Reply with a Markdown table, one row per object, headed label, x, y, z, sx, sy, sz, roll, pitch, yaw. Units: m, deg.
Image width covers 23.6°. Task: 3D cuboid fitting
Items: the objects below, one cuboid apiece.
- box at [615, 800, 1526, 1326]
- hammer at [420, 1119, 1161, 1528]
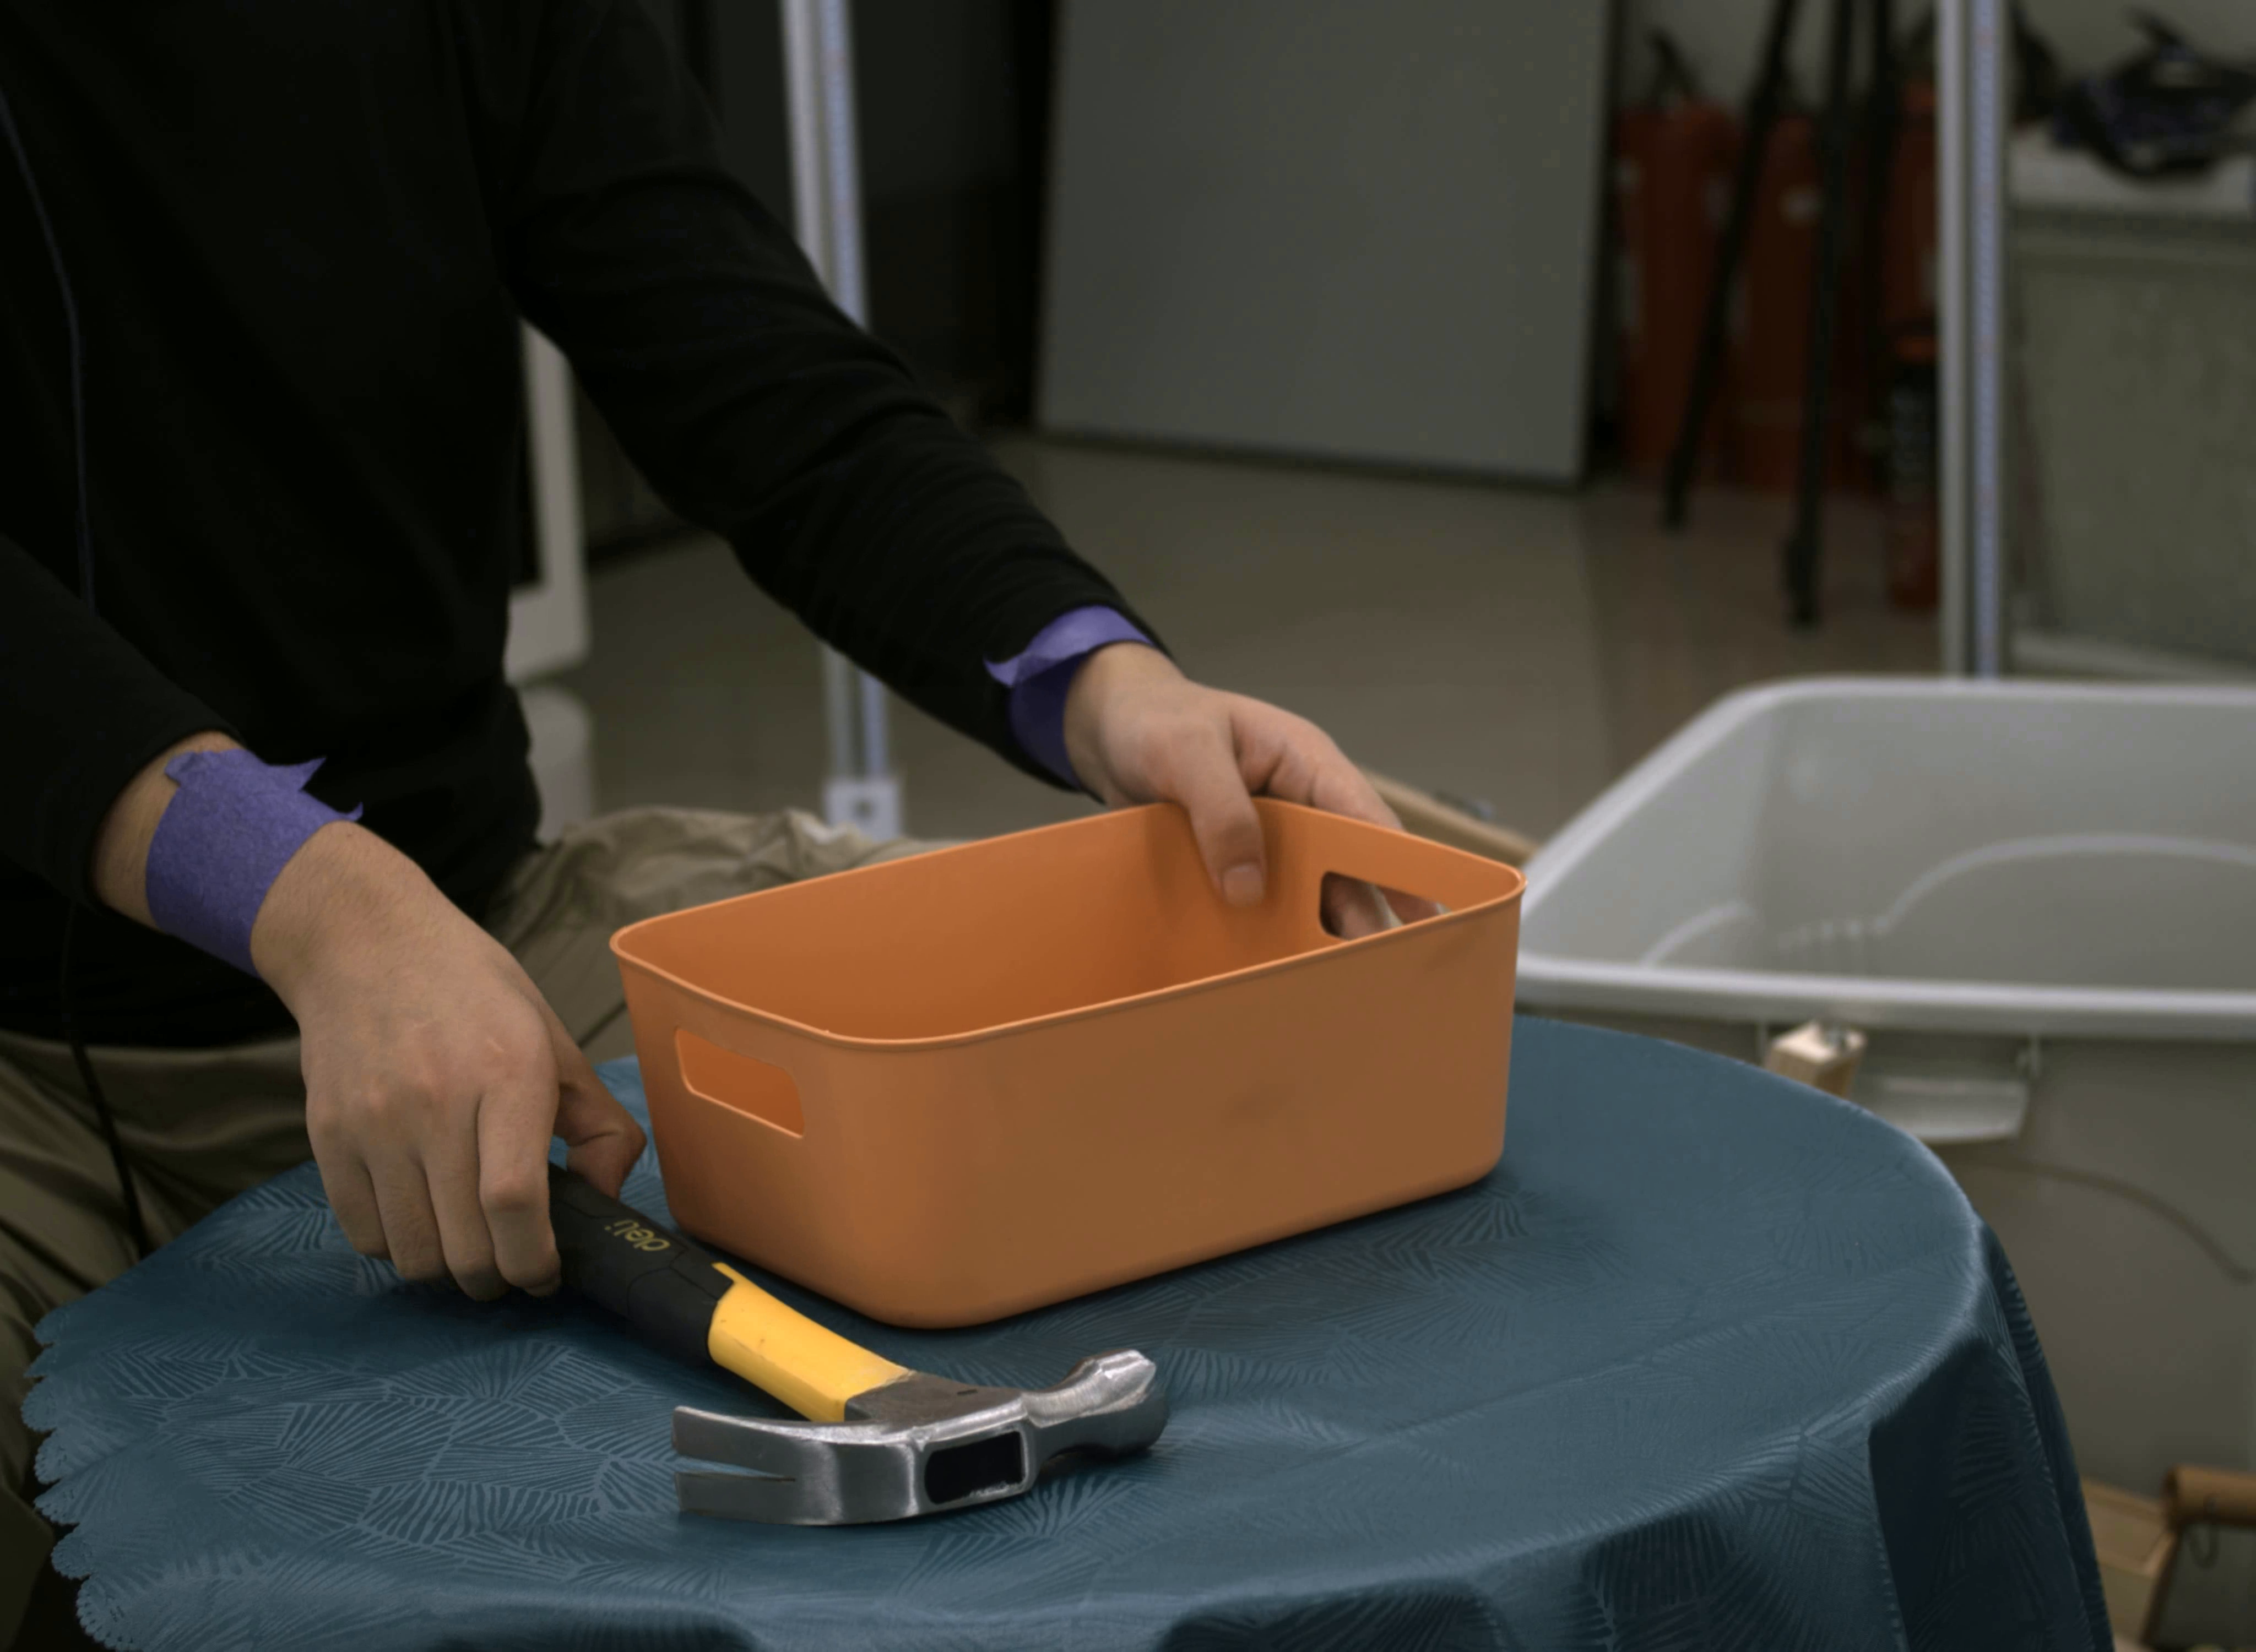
| label | x | y | z | sx | sy | sz | roll | pitch | yaw |
| --- | --- | --- | --- | --- | --- | --- | --- | --- | --- |
| box | -0.016 | 0.074 | 1.754 | 0.267 | 0.104 | 0.201 | -13 | 15 | -32 |
| hammer | -0.130 | 0.143 | 1.639 | 0.128 | 0.032 | 0.342 | -12 | 18 | -29 |
